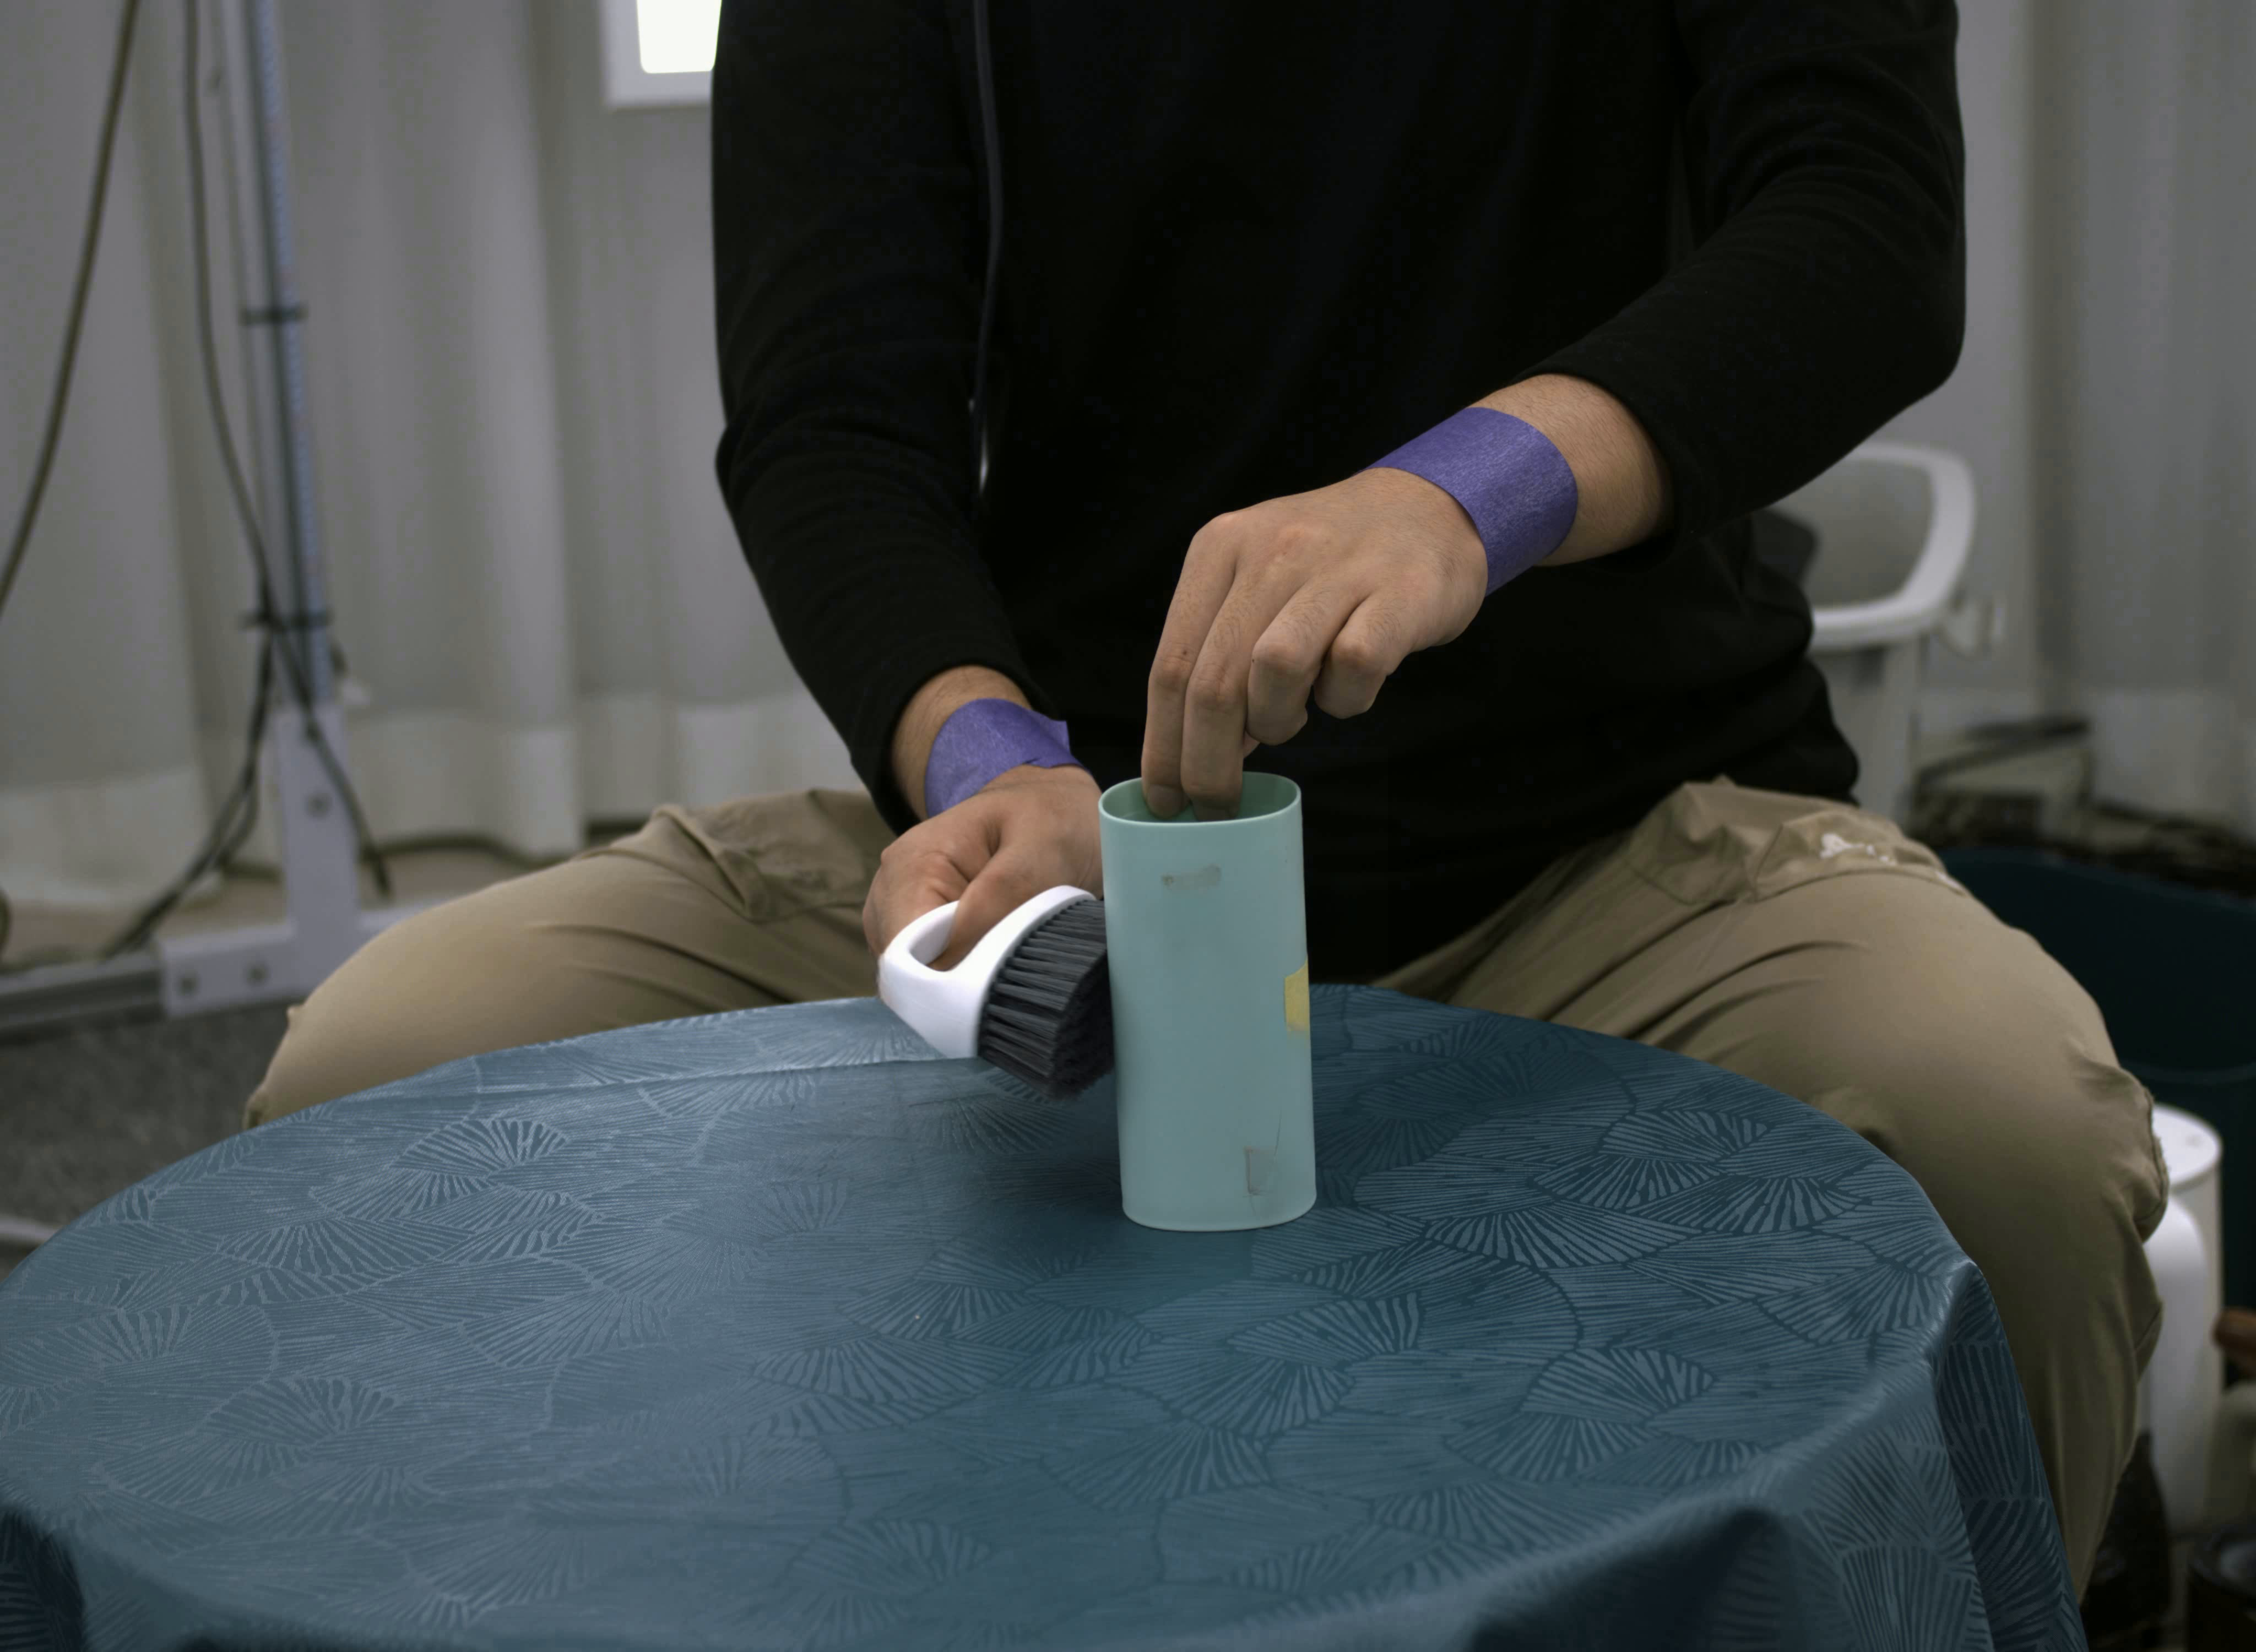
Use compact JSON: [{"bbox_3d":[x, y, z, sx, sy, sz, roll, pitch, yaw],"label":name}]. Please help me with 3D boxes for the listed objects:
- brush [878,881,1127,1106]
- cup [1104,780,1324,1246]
[{"bbox_3d":[-0.038,0.046,1.716,0.072,0.050,0.099,16,23,19],"label":"brush"},{"bbox_3d":[0.026,0.057,1.688,0.066,0.132,0.067,-3,14,1],"label":"cup"}]
